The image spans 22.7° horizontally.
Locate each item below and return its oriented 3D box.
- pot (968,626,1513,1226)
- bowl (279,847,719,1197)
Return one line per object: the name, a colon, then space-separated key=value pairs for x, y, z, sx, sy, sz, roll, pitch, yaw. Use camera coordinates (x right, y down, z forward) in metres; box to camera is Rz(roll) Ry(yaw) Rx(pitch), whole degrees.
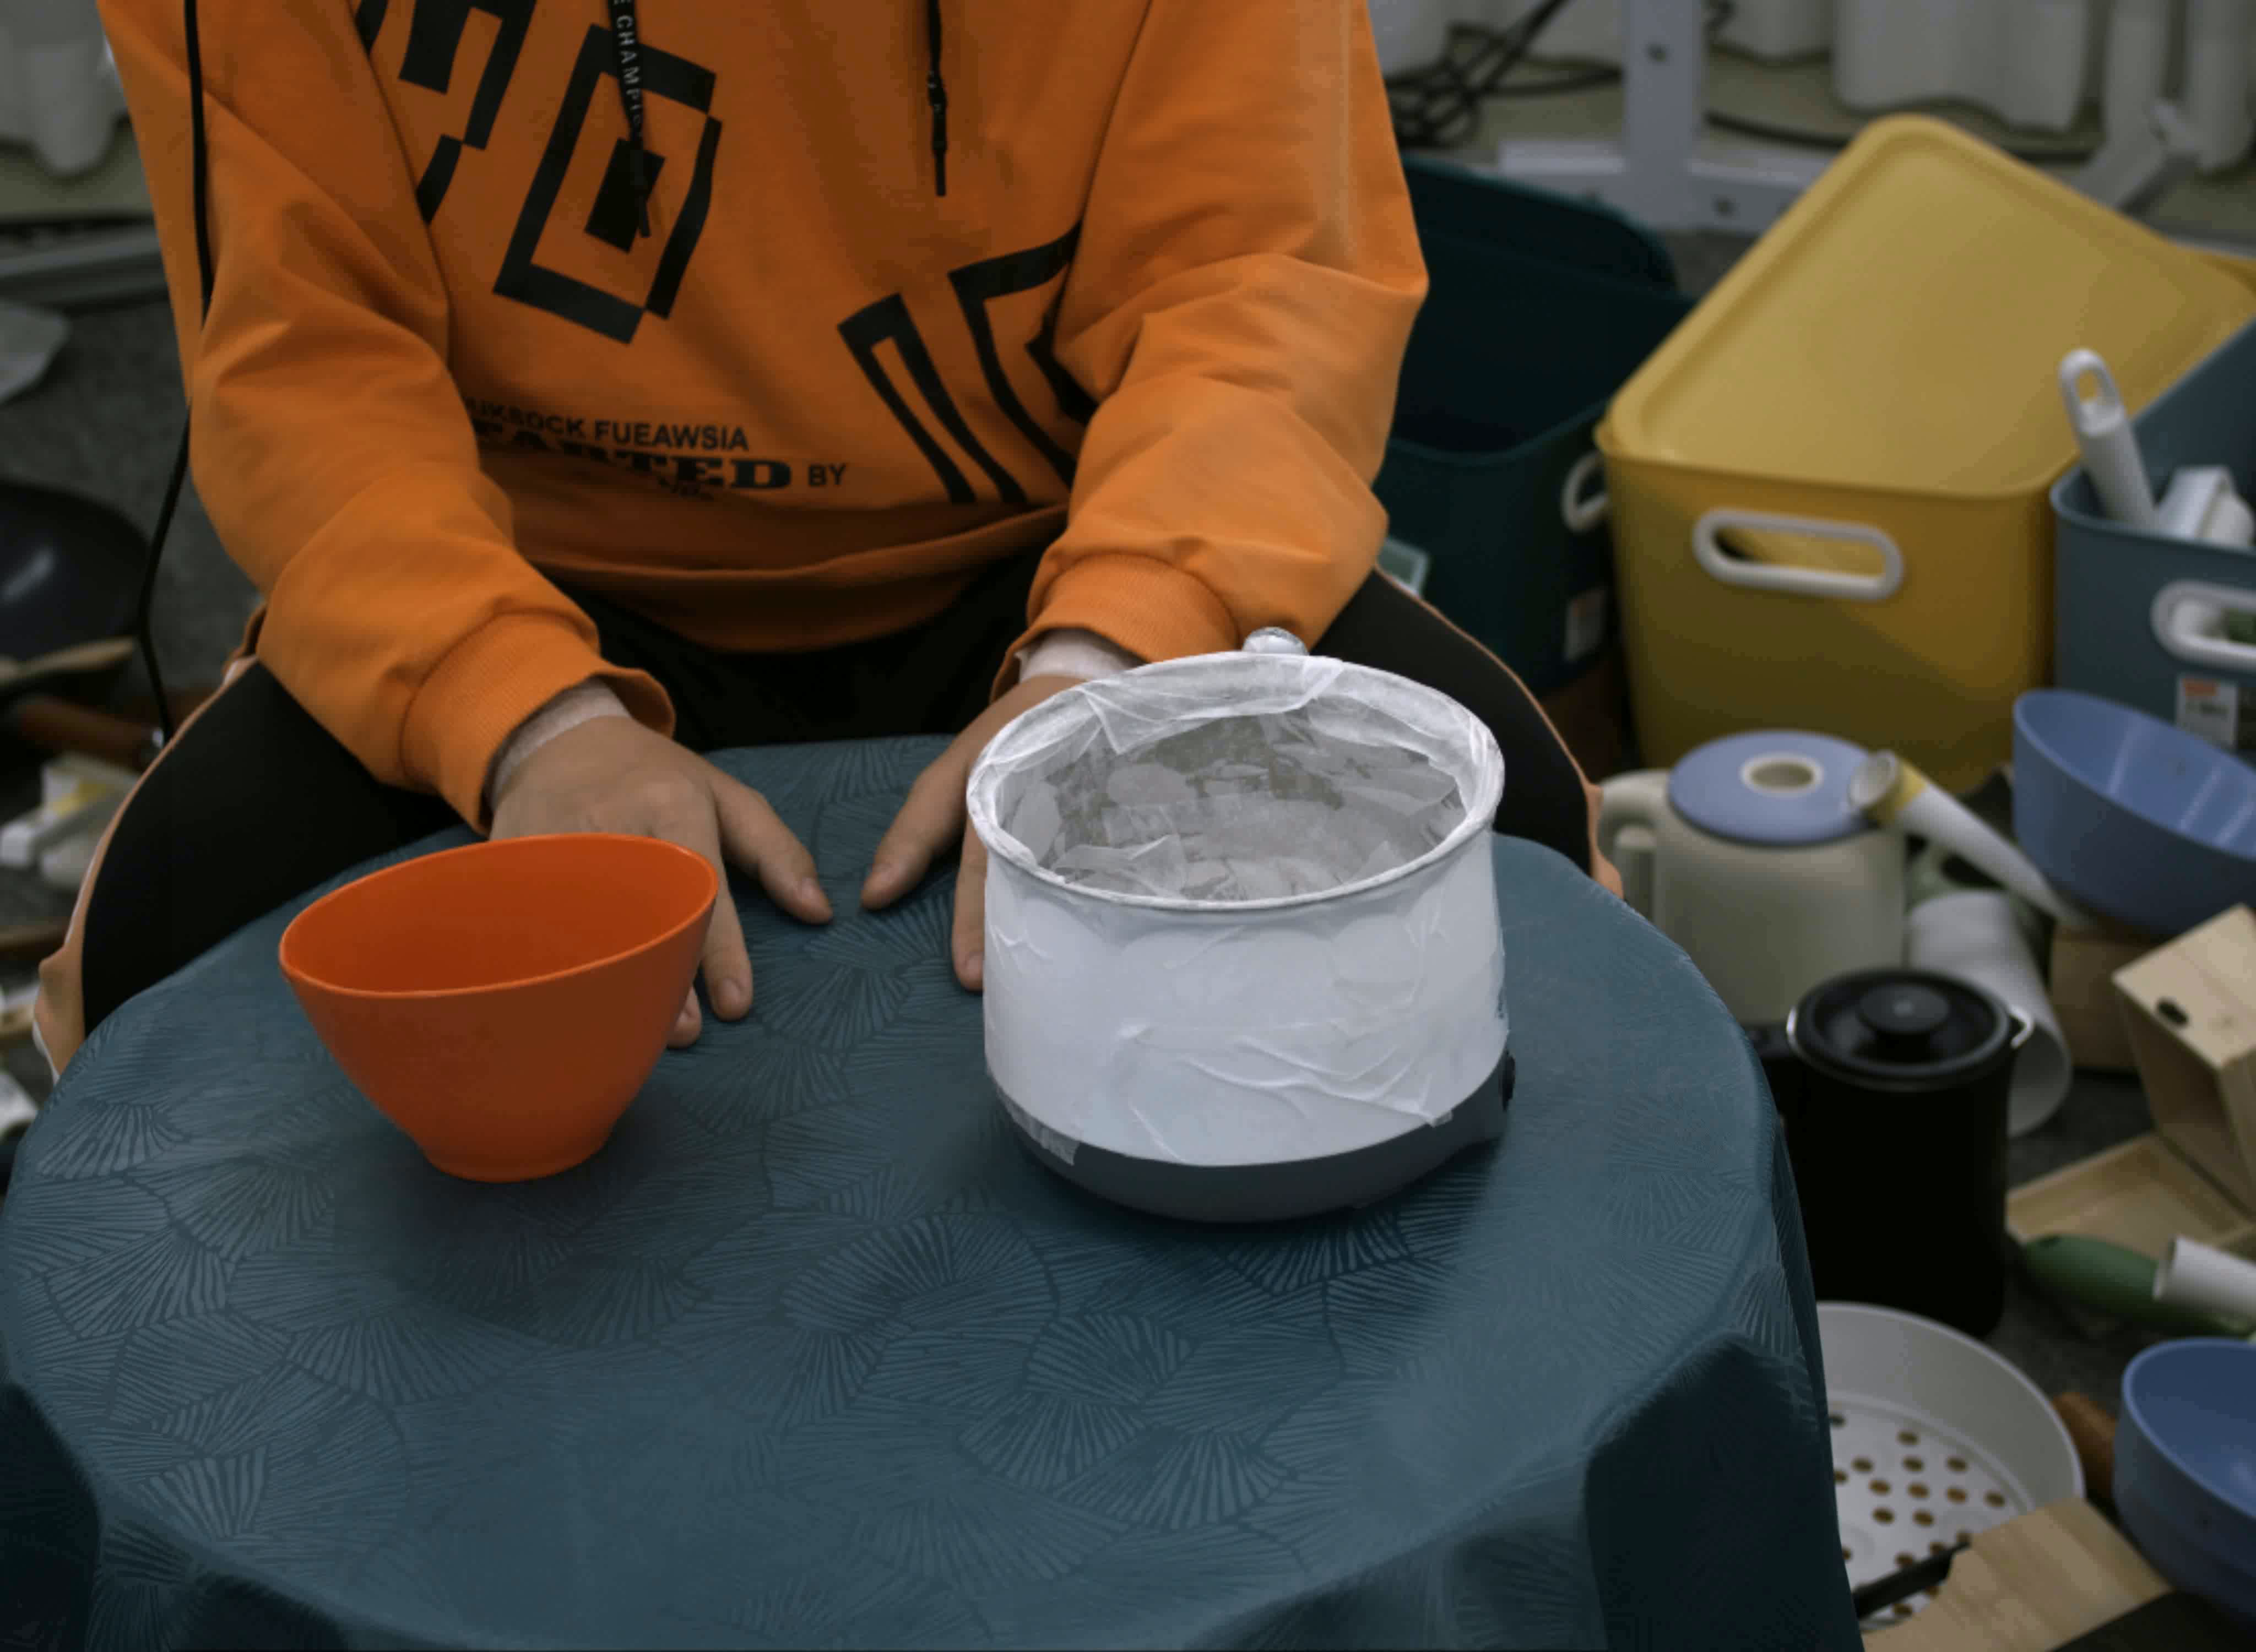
pot: x=0.041 y=0.026 z=1.895 sx=0.177 sy=0.135 sz=0.237 roll=1 pitch=28 yaw=7
bowl: x=-0.207 y=0.069 z=1.883 sx=0.147 sy=0.103 sz=0.150 roll=-2 pitch=25 yaw=2
